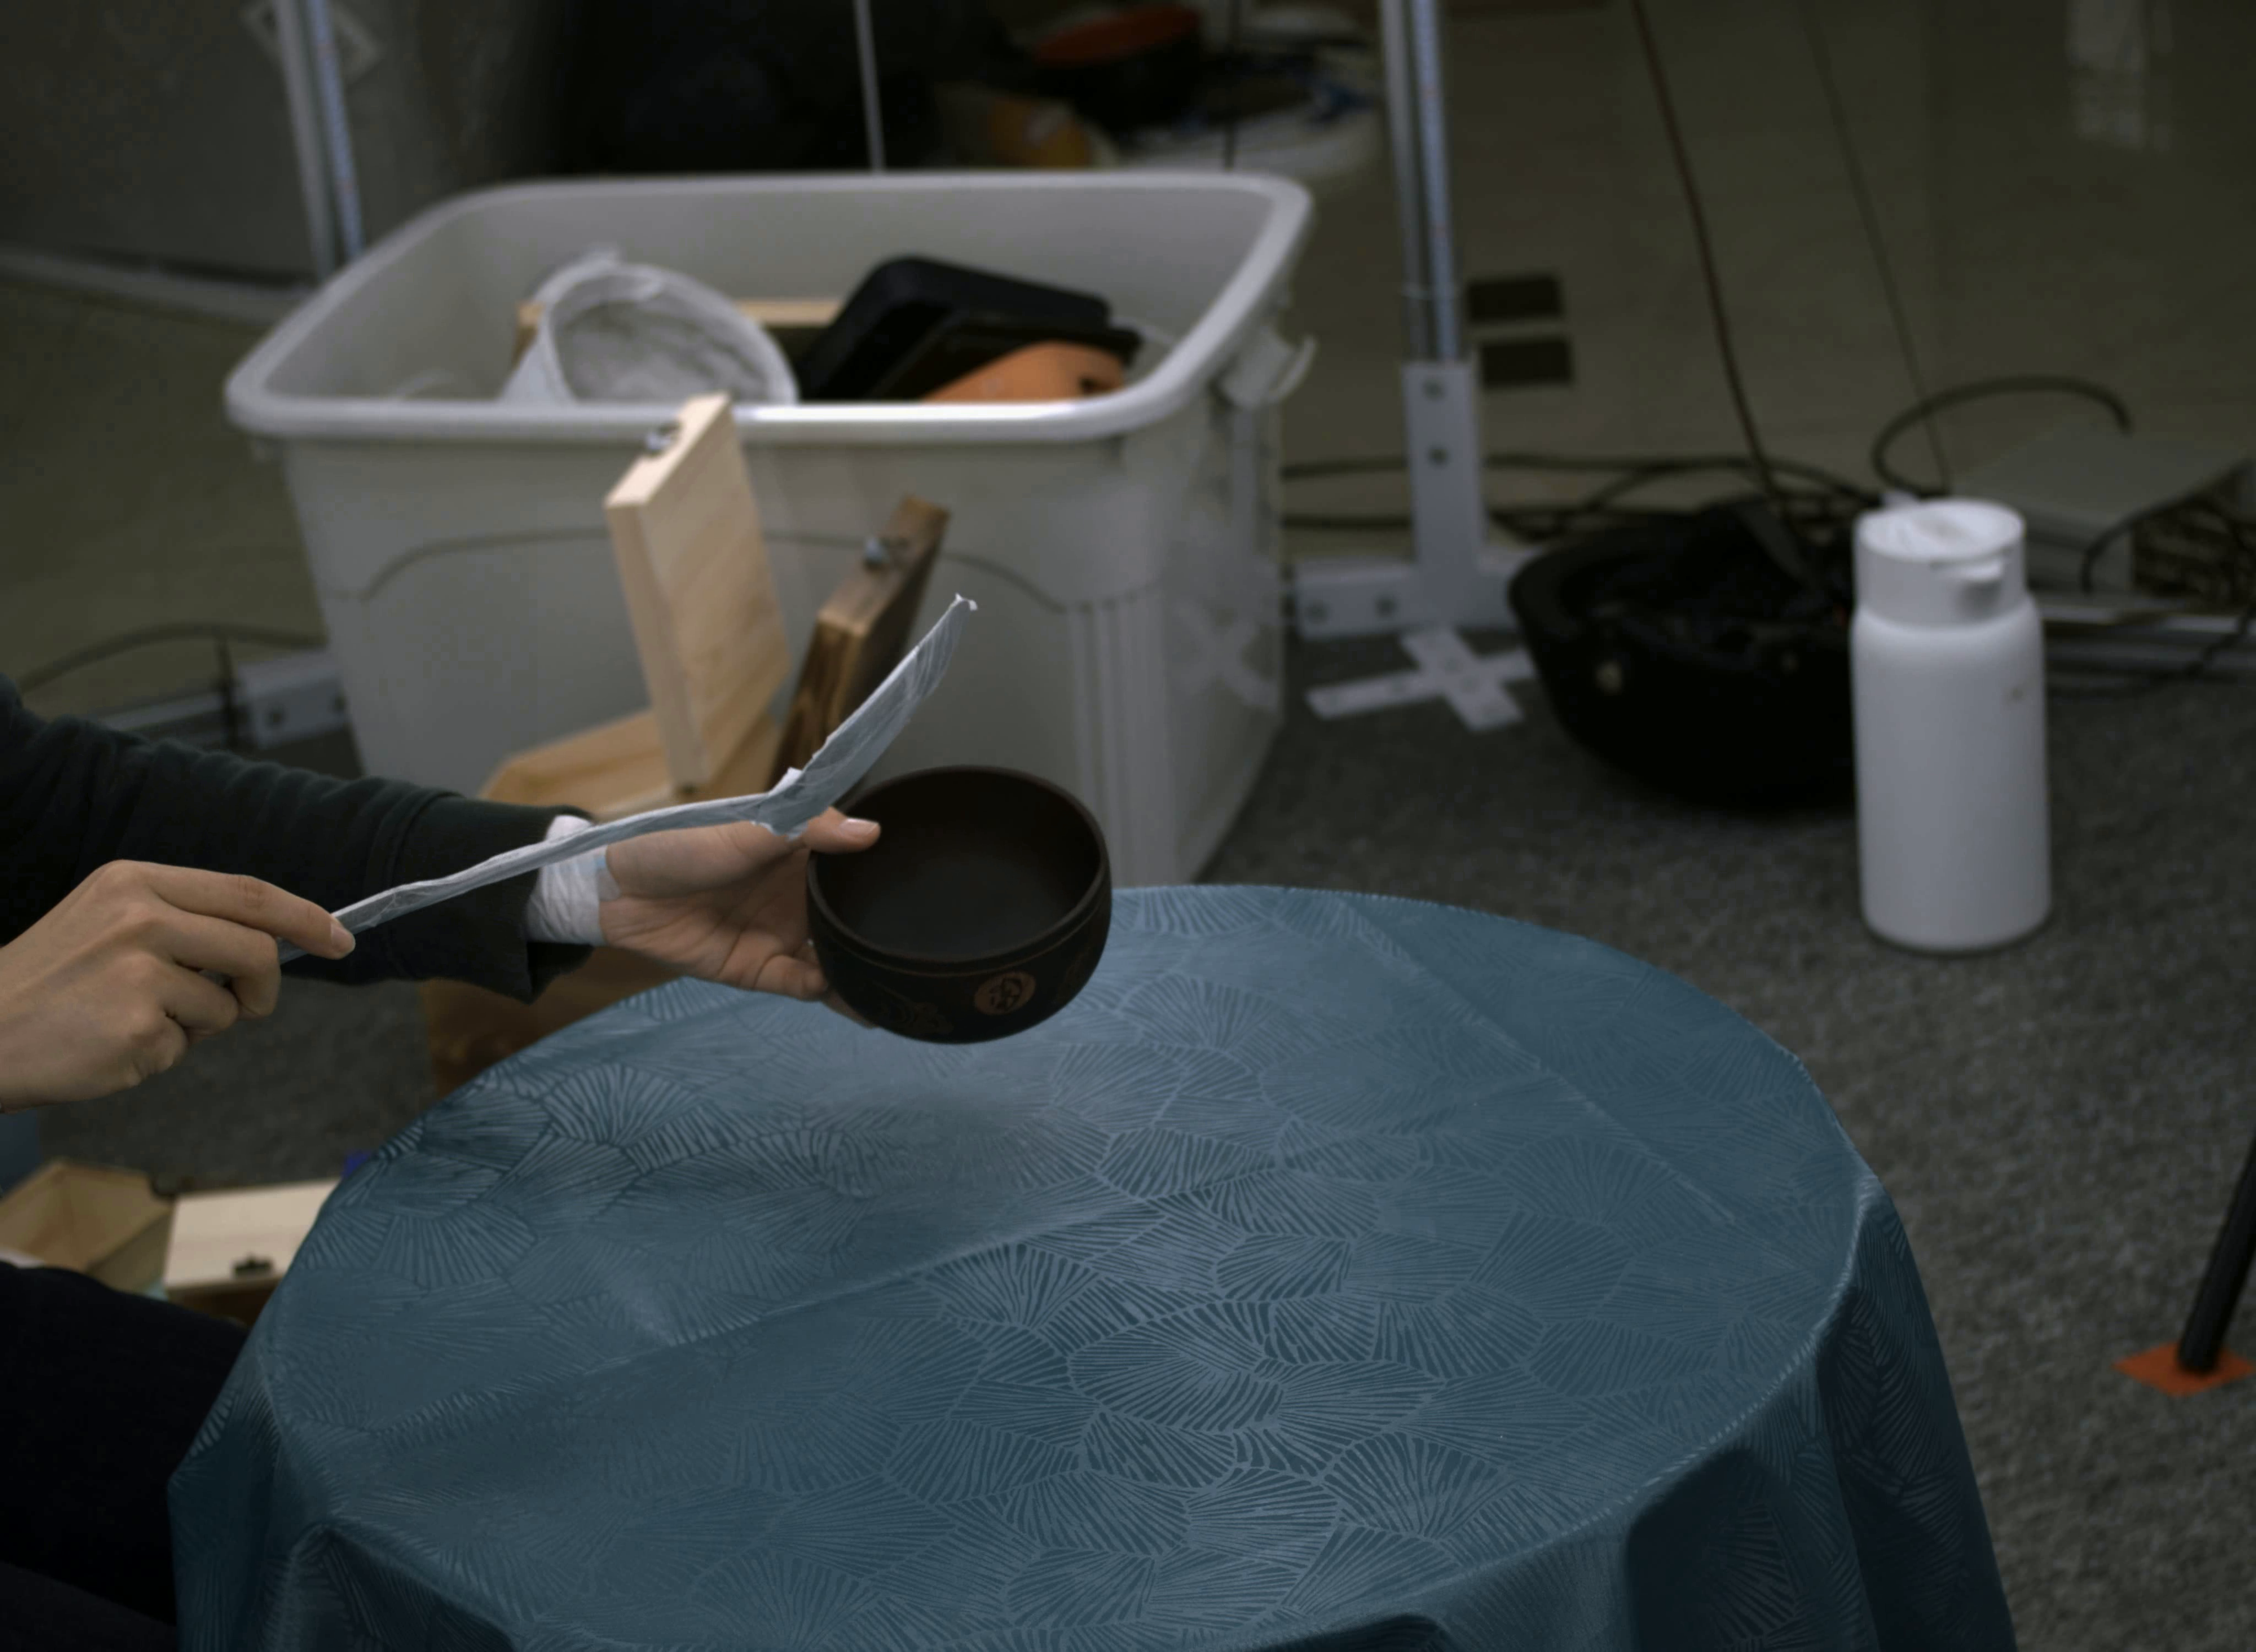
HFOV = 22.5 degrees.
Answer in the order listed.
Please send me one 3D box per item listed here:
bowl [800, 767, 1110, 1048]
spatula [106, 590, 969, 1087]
[{"bbox_3d":[-0.065,0.040,2.157,0.118,0.071,0.116,-2,40,2],"label":"bowl"},{"bbox_3d":[-0.202,0.006,1.981,0.362,0.100,0.044,-21,73,-29],"label":"spatula"}]
